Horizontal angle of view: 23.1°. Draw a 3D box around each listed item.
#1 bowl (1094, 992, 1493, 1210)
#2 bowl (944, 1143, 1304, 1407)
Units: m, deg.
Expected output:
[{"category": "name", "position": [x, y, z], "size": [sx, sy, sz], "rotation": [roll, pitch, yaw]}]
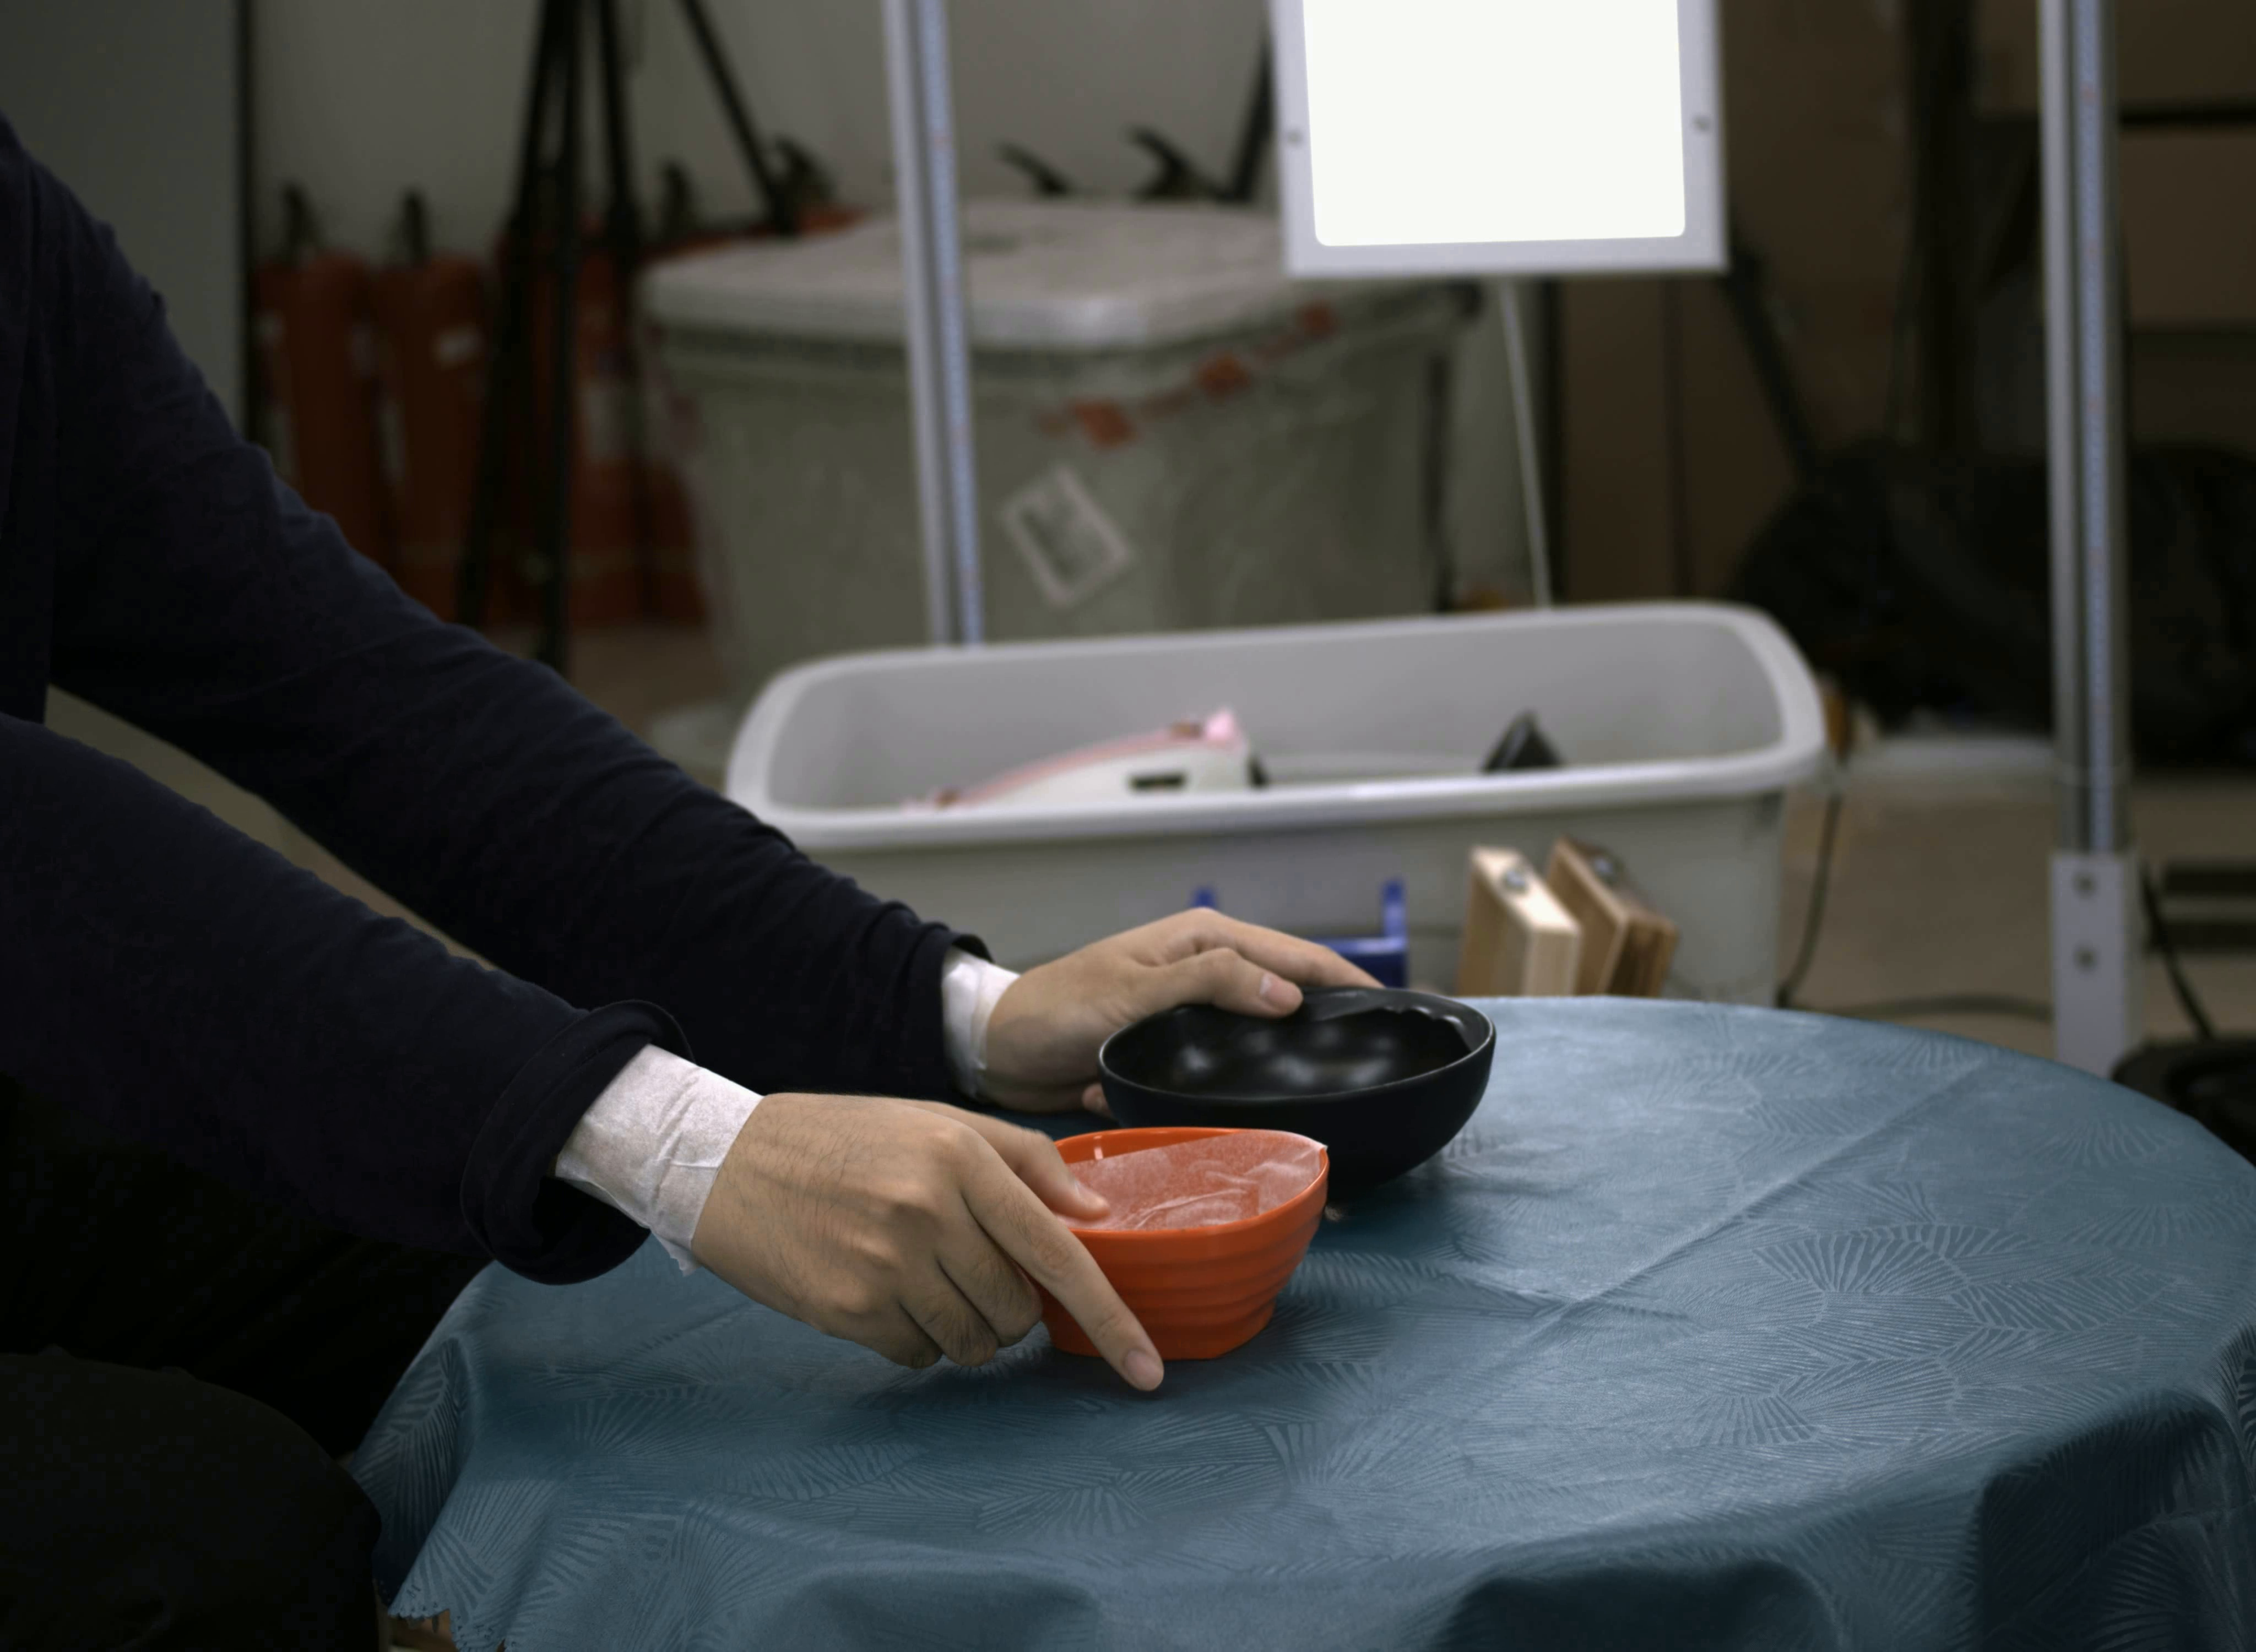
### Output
[{"category": "bowl", "position": [0.060, 0.099, 1.899], "size": [0.140, 0.050, 0.140], "rotation": [-8, 12, 0]}, {"category": "bowl", "position": [0.000, 0.146, 1.755], "size": [0.118, 0.051, 0.118], "rotation": [-2, 21, -1]}]
